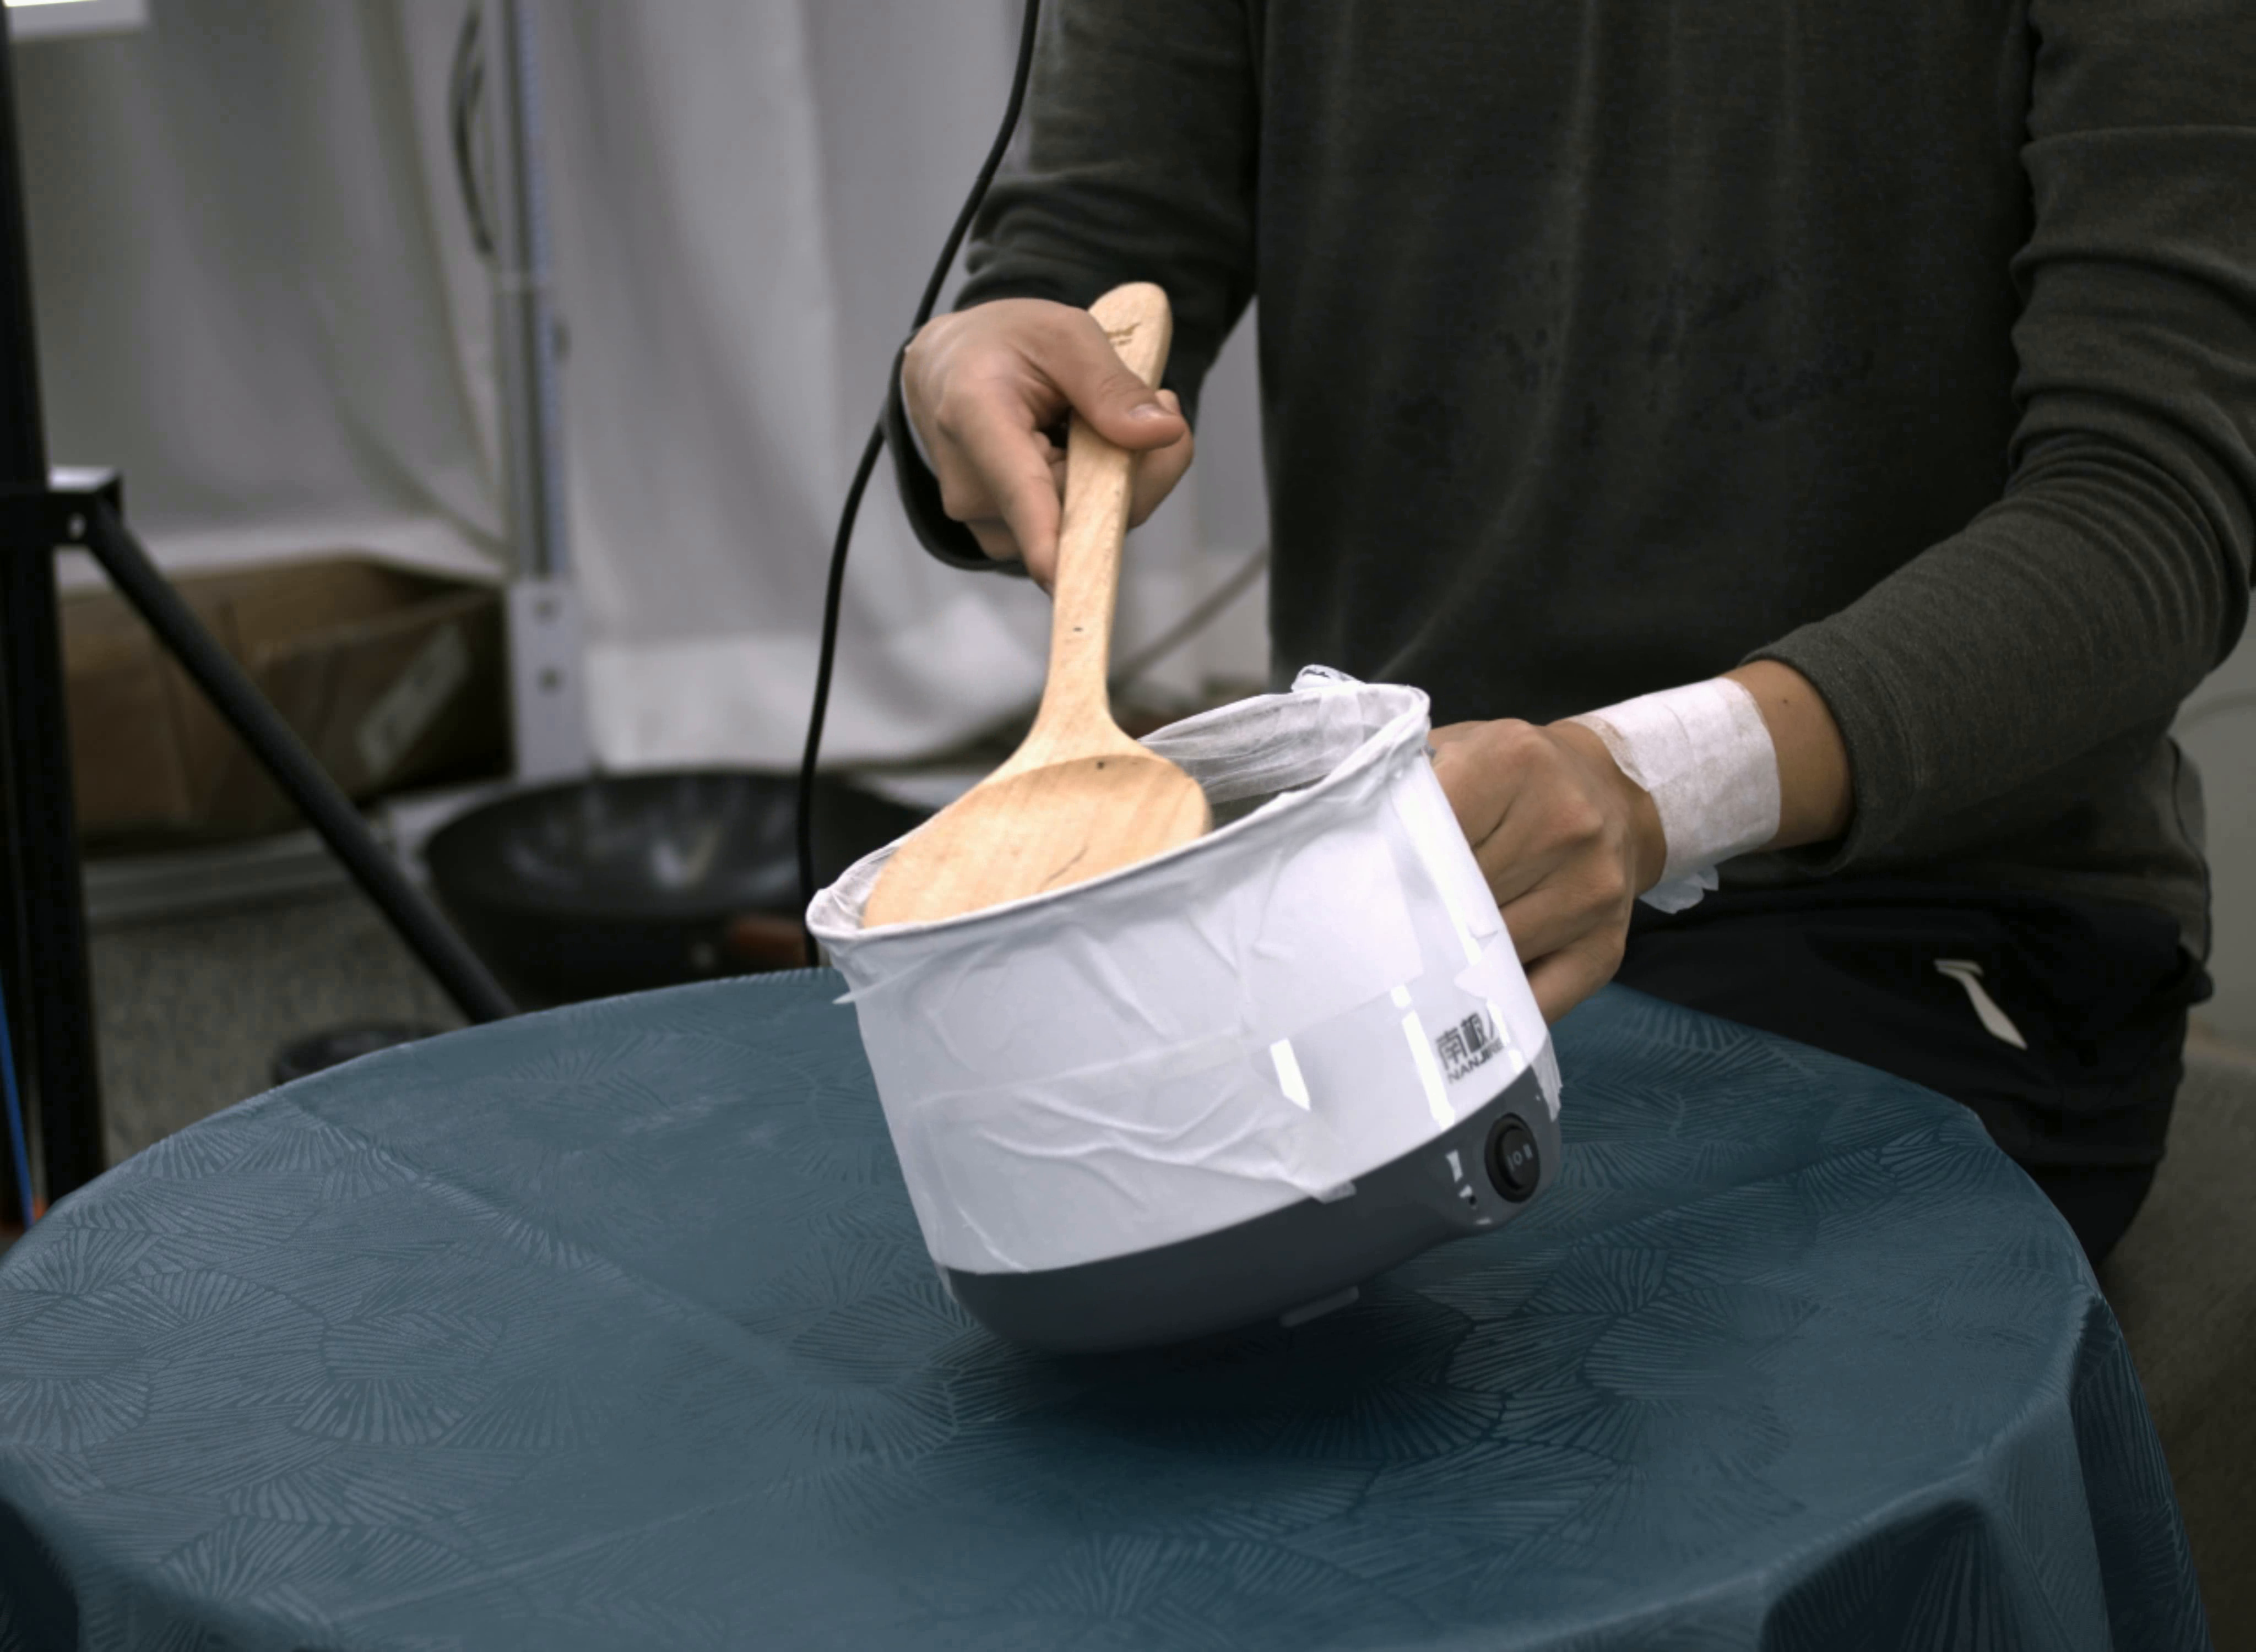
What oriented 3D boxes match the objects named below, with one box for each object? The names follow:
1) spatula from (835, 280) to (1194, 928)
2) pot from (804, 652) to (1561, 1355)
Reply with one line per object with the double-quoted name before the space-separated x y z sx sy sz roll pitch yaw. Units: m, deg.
"spatula" -0.019 -0.071 1.546 0.096 0.018 0.393 -10 31 10
"pot" 0.033 0.042 1.438 0.182 0.136 0.230 -10 15 38
